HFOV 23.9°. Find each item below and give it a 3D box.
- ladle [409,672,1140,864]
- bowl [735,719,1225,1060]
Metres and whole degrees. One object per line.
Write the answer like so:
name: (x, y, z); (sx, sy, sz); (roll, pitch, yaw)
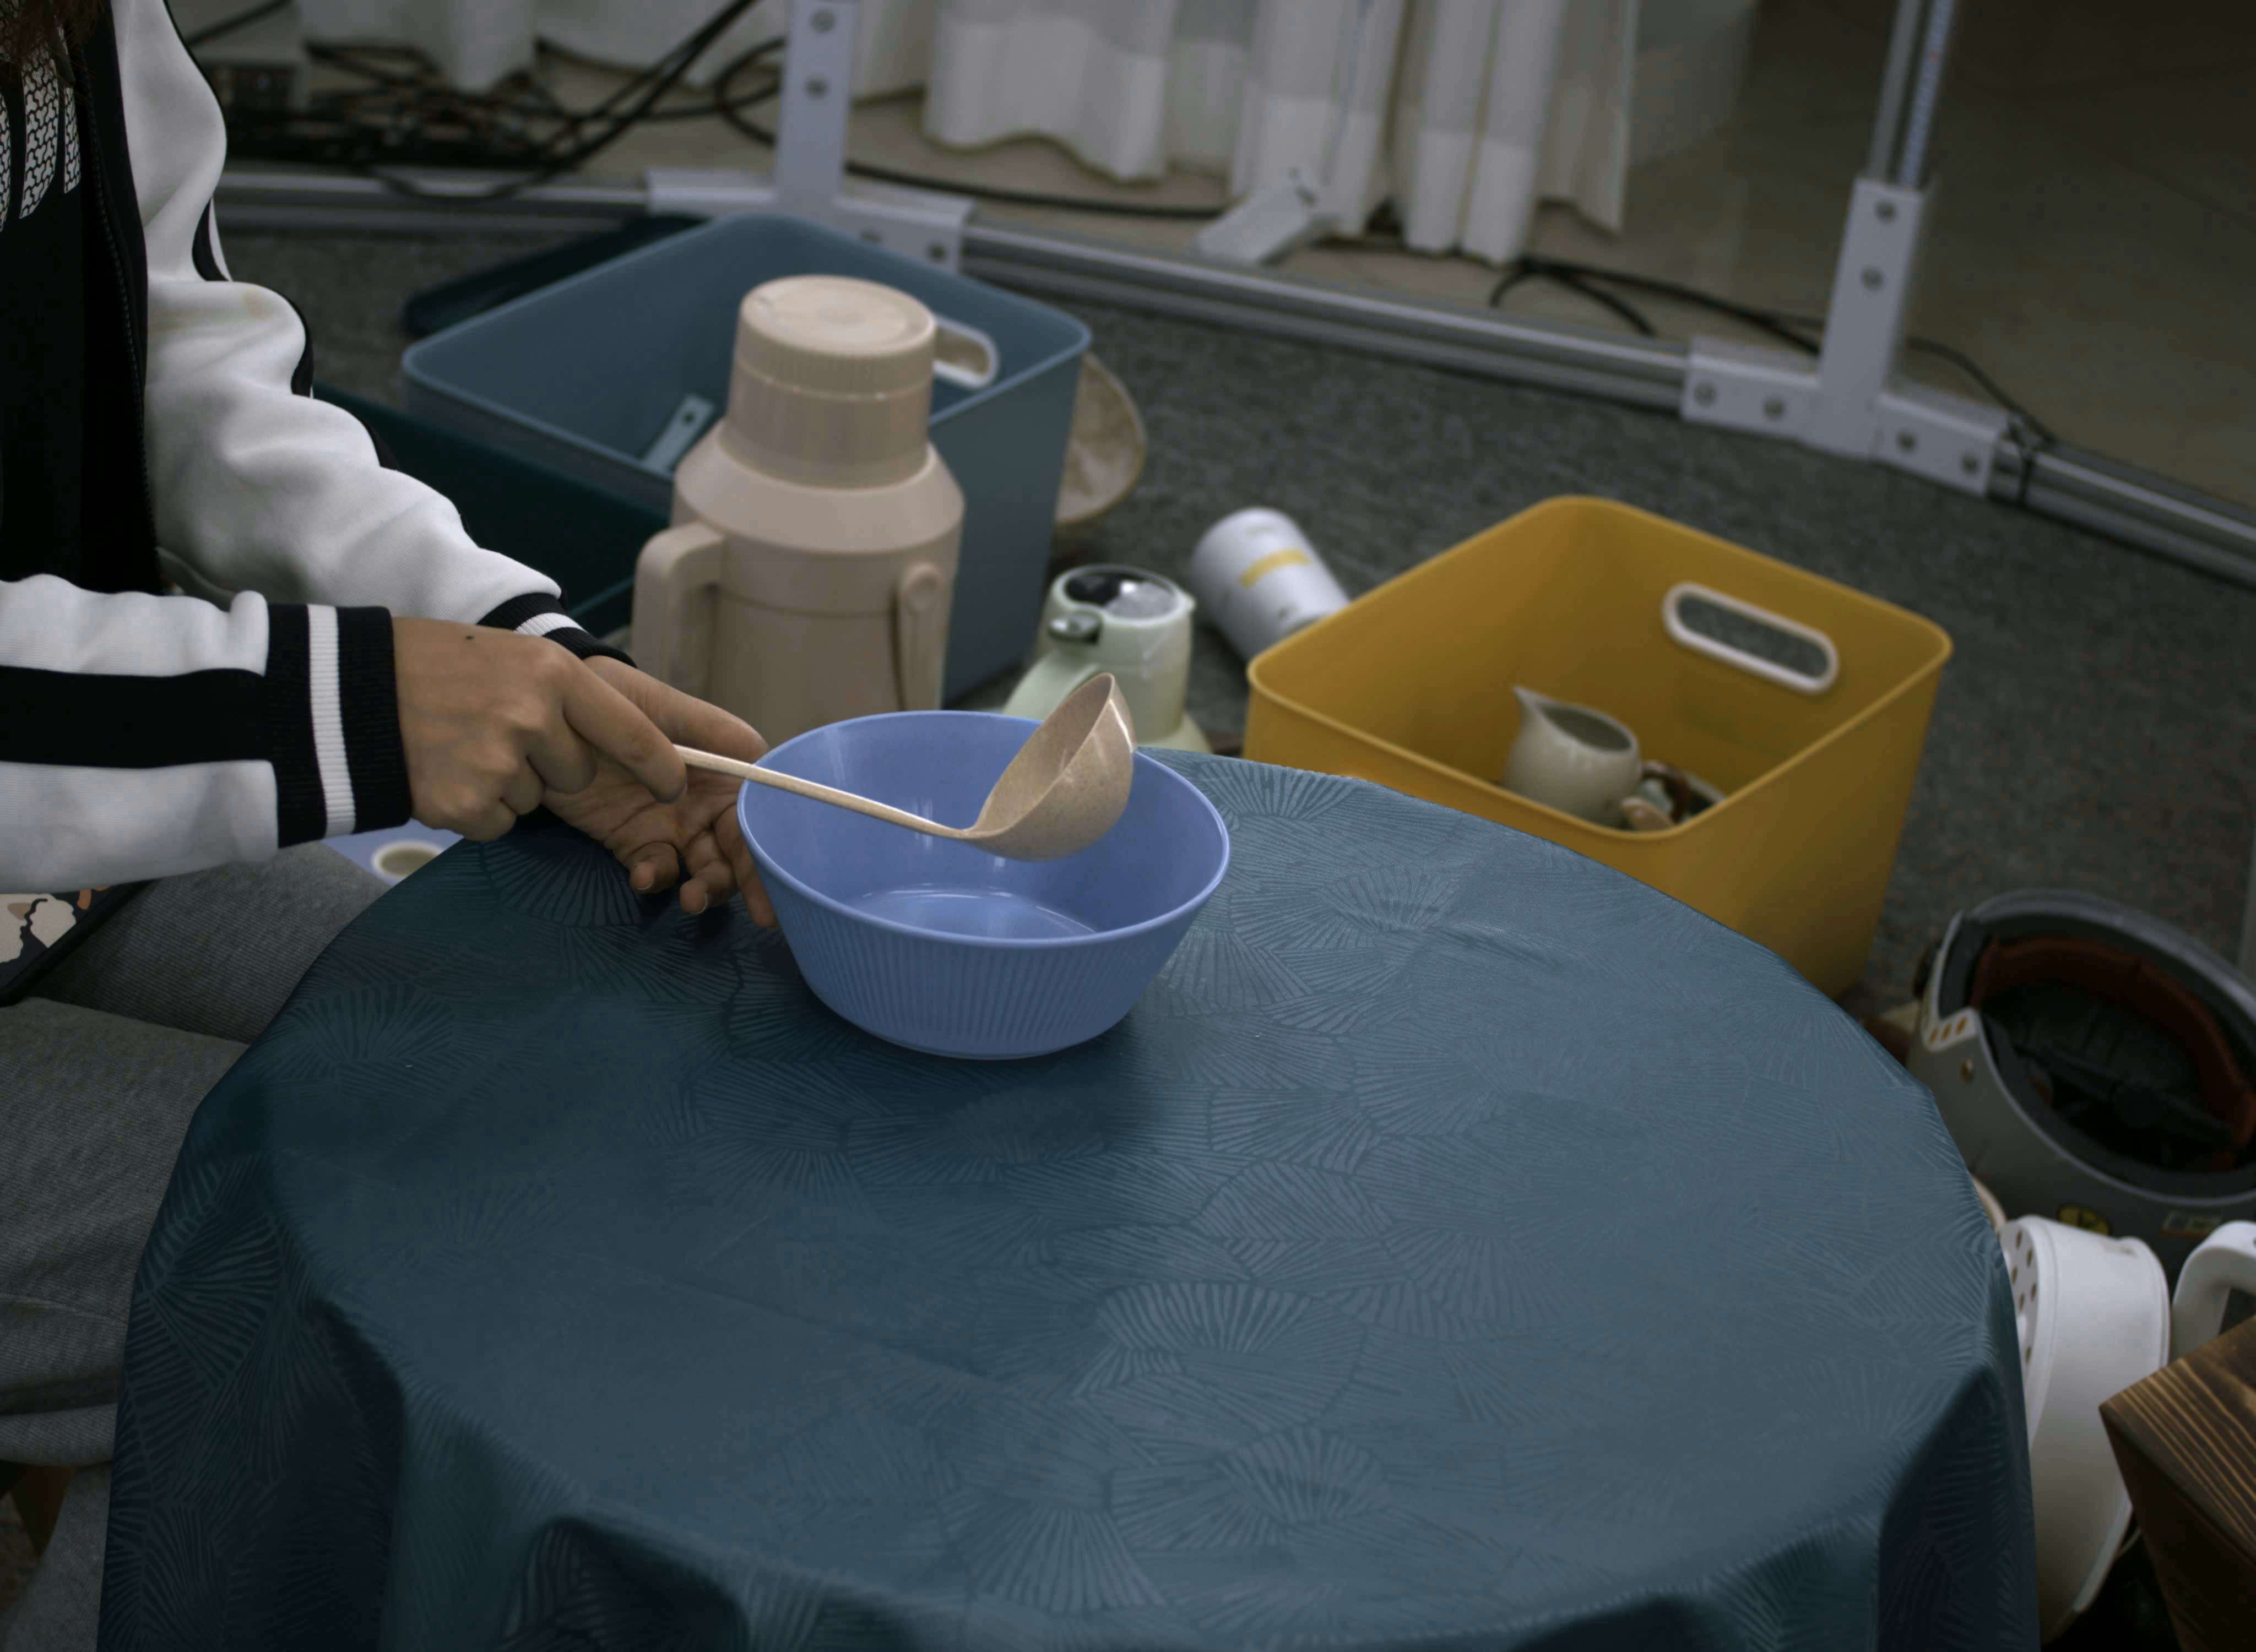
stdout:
ladle: (-0.119, -0.042, 1.841); (0.252, 0.073, 0.072); (12, -3, -18)
bowl: (-0.055, 0.028, 1.901); (0.175, 0.070, 0.177); (5, 26, -3)
